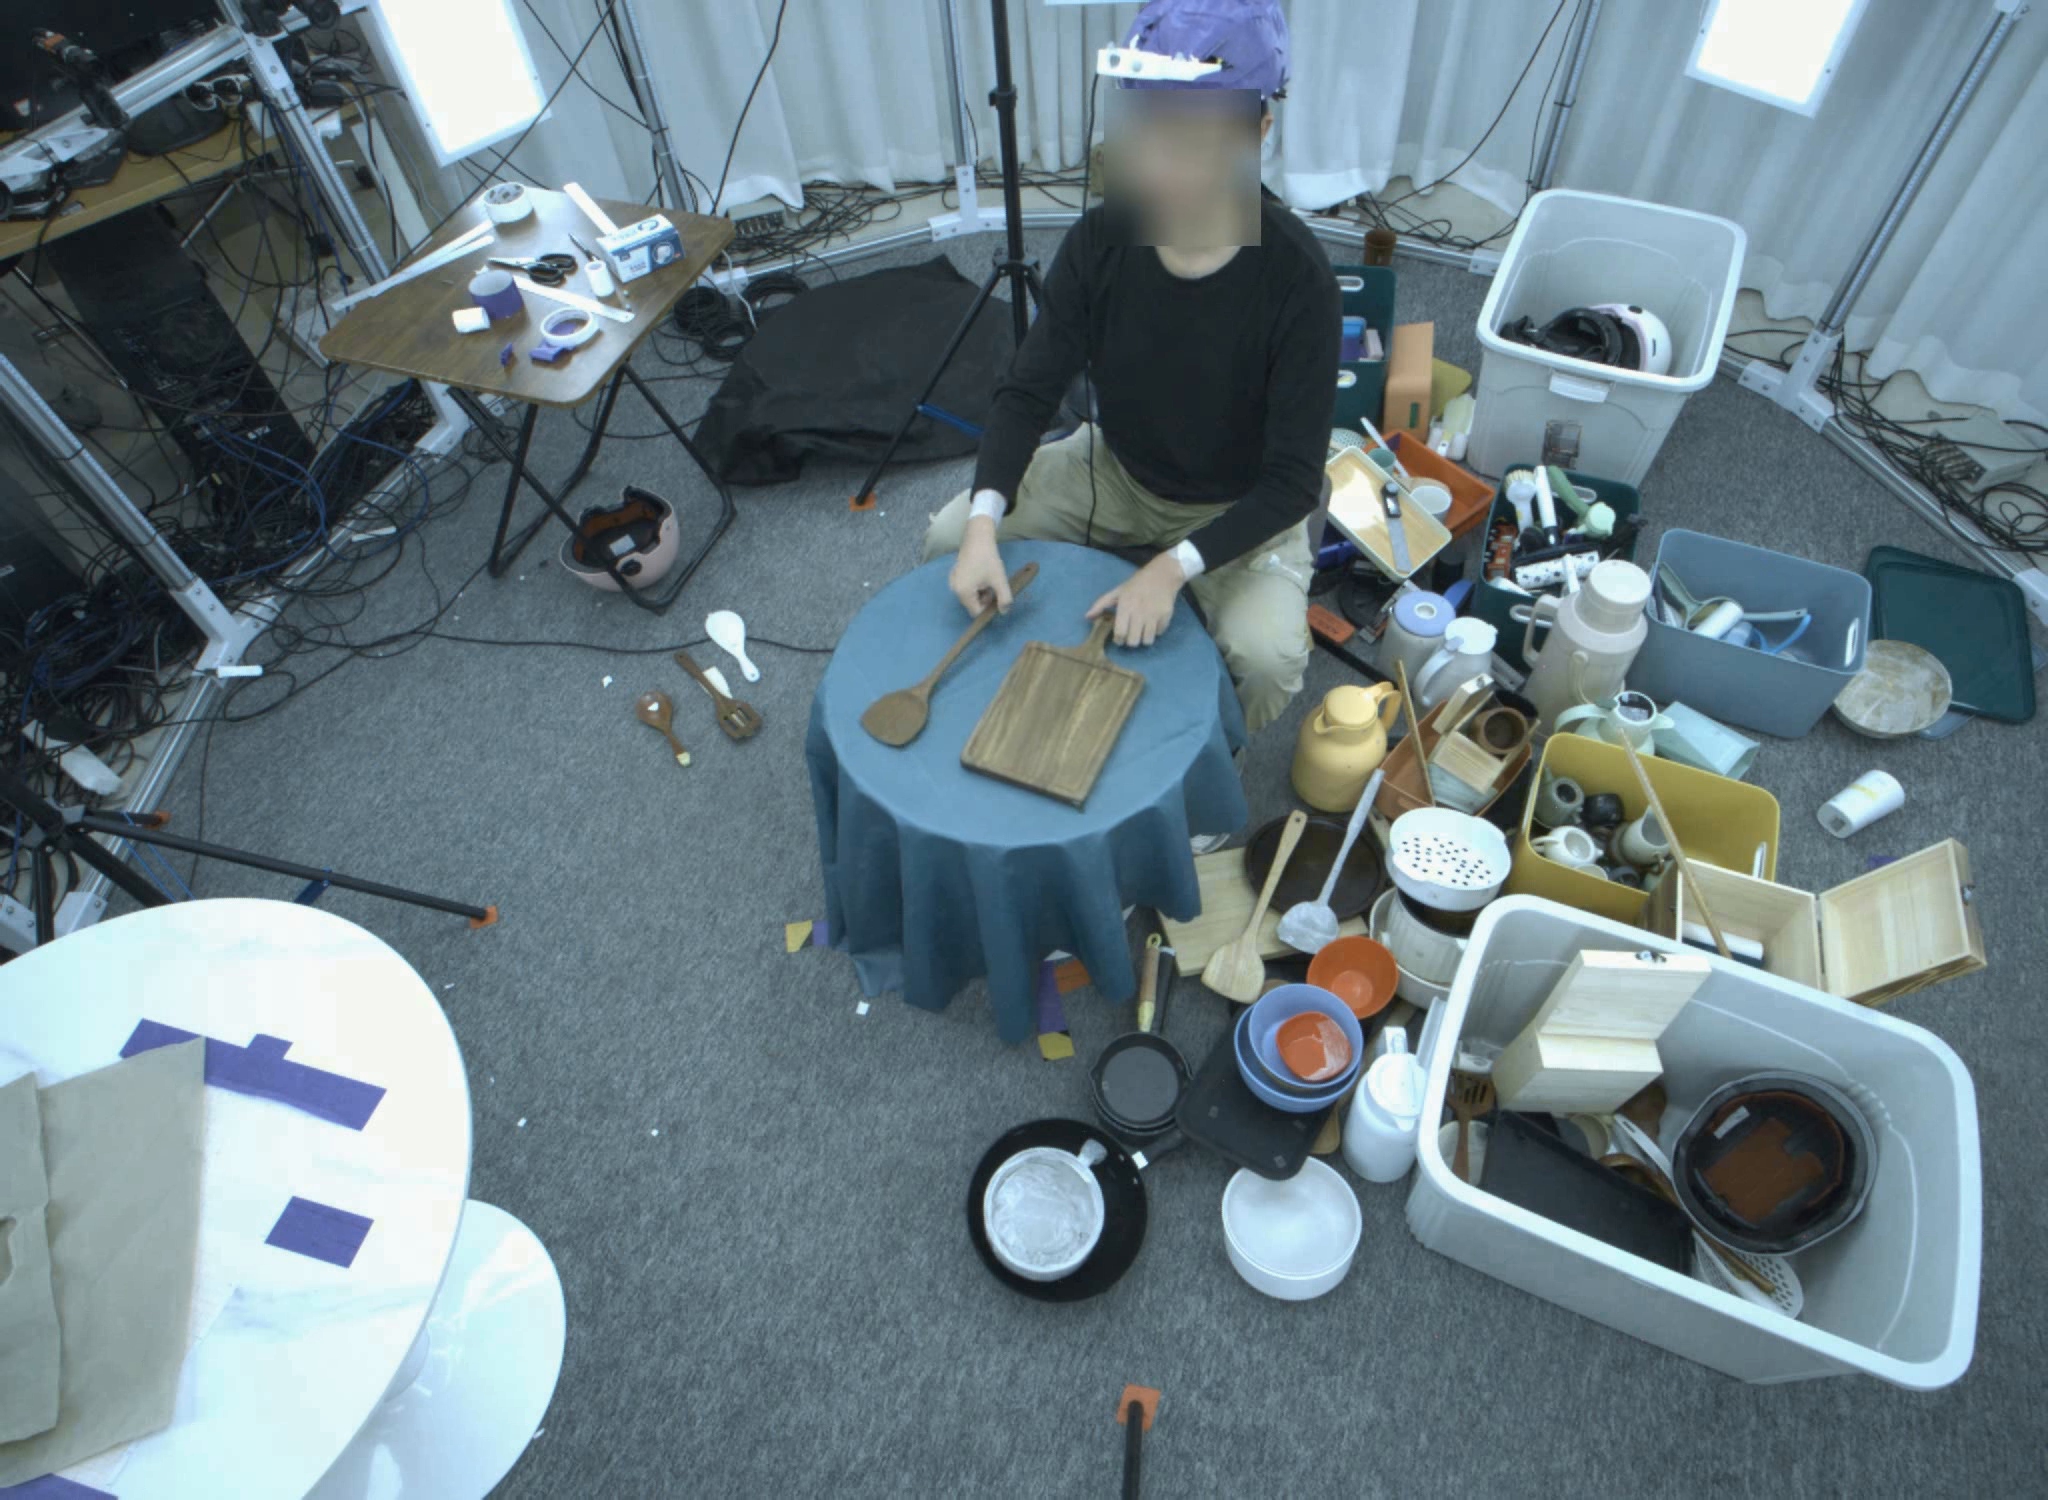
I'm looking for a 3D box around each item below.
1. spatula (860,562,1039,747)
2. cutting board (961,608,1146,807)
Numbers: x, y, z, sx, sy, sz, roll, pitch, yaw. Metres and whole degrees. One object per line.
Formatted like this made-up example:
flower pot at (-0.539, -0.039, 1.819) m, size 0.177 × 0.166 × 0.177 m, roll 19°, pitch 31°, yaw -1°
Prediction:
spatula at (-0.101, -0.156, 1.868) m, size 0.094 × 0.016 × 0.387 m, roll 31°, pitch 70°, yaw 24°
cutting board at (0.066, -0.082, 1.831) m, size 0.199 × 0.023 × 0.352 m, roll 19°, pitch 58°, yaw 14°
